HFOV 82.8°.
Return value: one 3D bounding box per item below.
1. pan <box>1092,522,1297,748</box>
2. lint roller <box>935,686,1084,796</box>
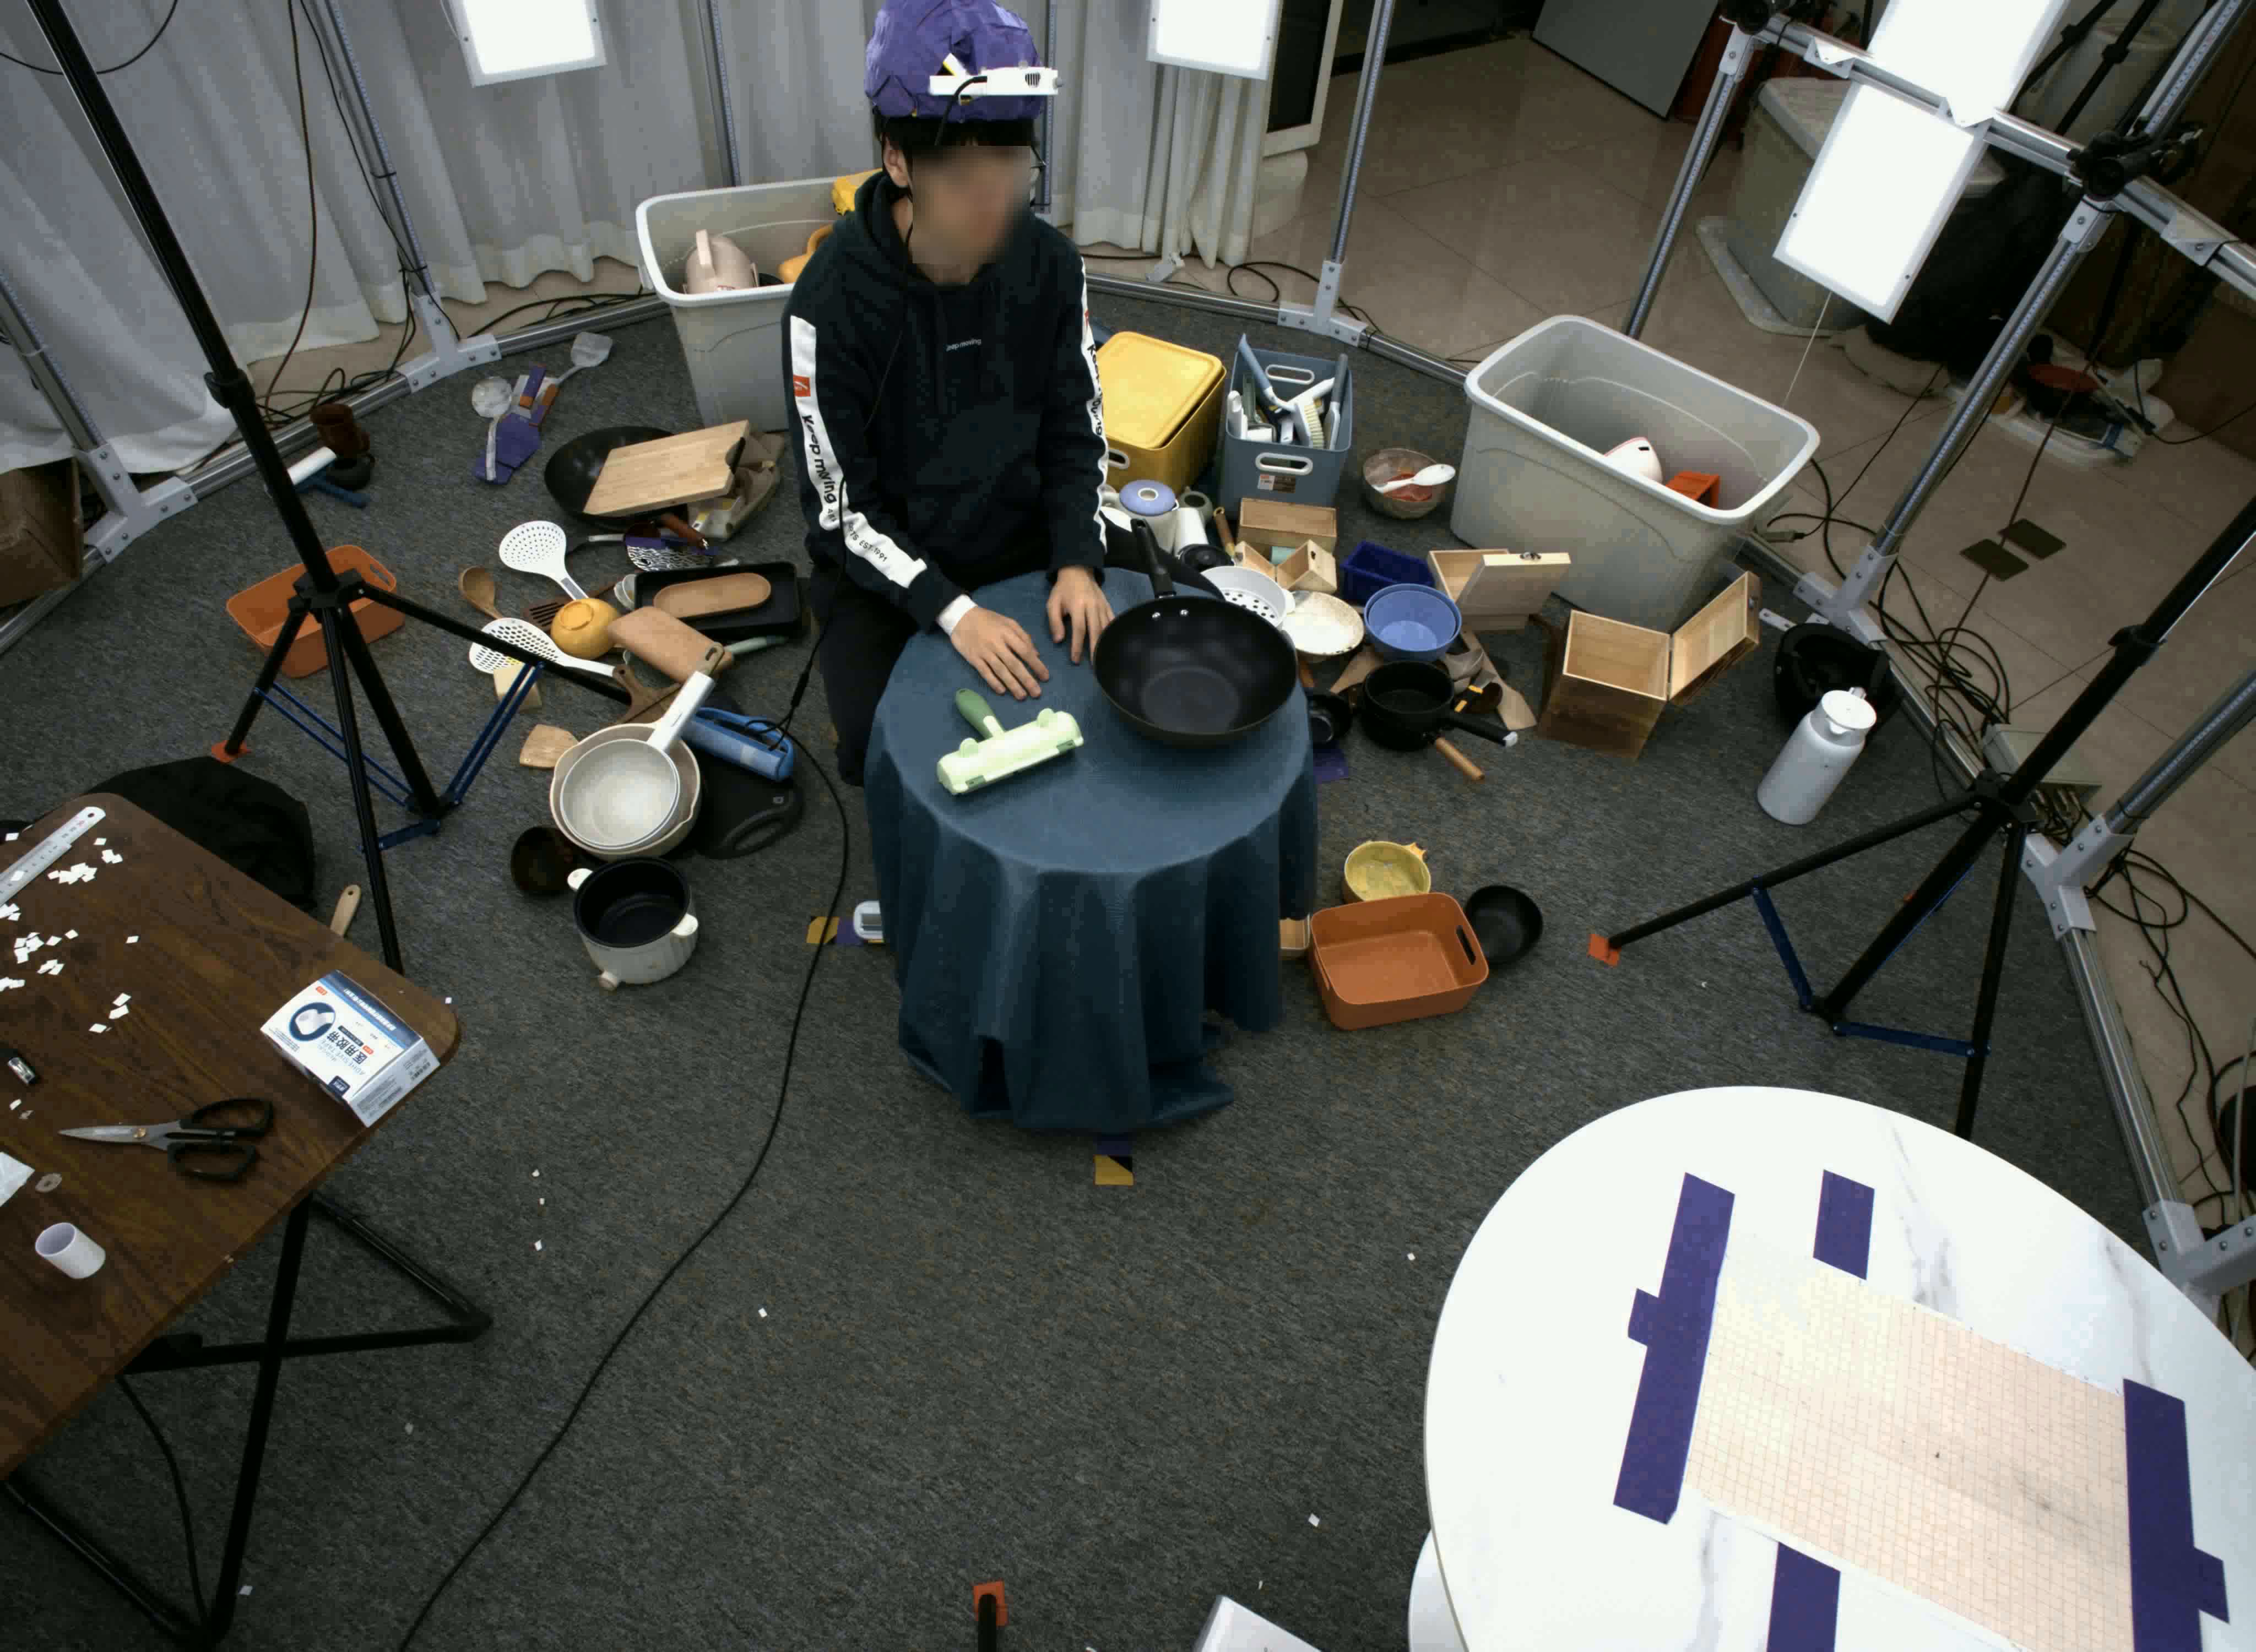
[{"bbox_3d":[0.068,-0.270,1.853,0.288,0.085,0.475,-9,49,-11],"label":"pan"},{"bbox_3d":[-0.185,-0.142,1.731,0.199,0.080,0.187,-23,60,-21],"label":"lint roller"}]
